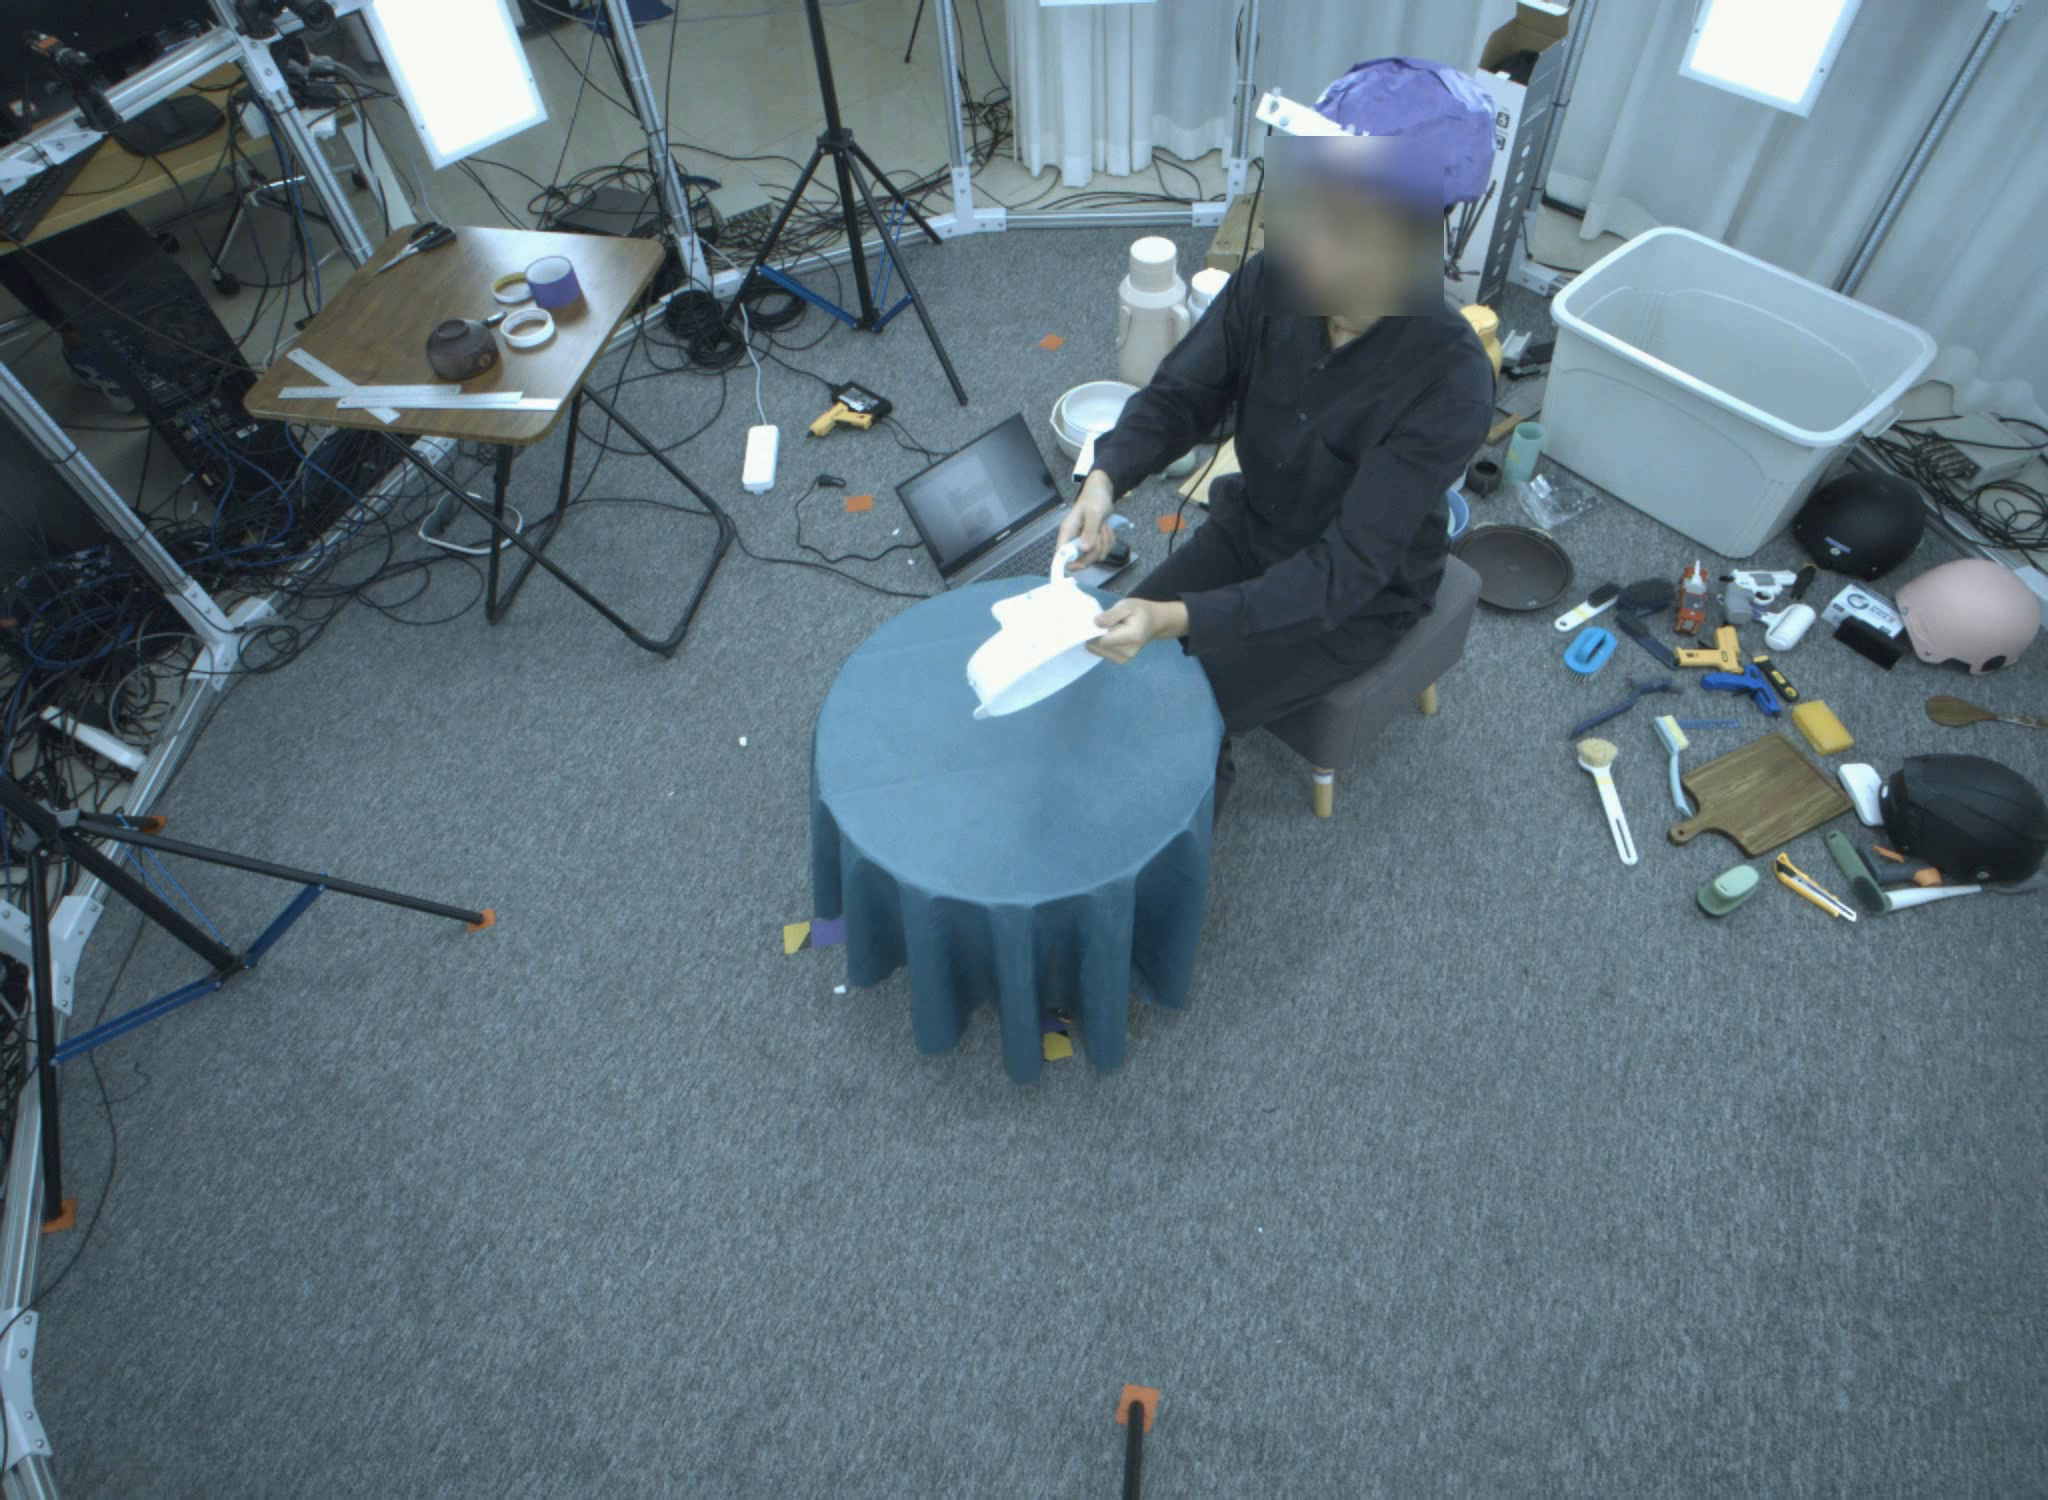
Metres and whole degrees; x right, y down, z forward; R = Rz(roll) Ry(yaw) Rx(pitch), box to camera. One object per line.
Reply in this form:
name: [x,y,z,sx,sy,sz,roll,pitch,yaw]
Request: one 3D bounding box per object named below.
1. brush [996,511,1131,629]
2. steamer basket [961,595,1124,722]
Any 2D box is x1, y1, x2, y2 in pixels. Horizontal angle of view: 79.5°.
brush: [0.081,-0.232,1.638,0.081,0.085,0.328,4,31,36]
steamer basket: [0.016,-0.121,1.573,0.230,0.203,0.069,-32,82,0]
